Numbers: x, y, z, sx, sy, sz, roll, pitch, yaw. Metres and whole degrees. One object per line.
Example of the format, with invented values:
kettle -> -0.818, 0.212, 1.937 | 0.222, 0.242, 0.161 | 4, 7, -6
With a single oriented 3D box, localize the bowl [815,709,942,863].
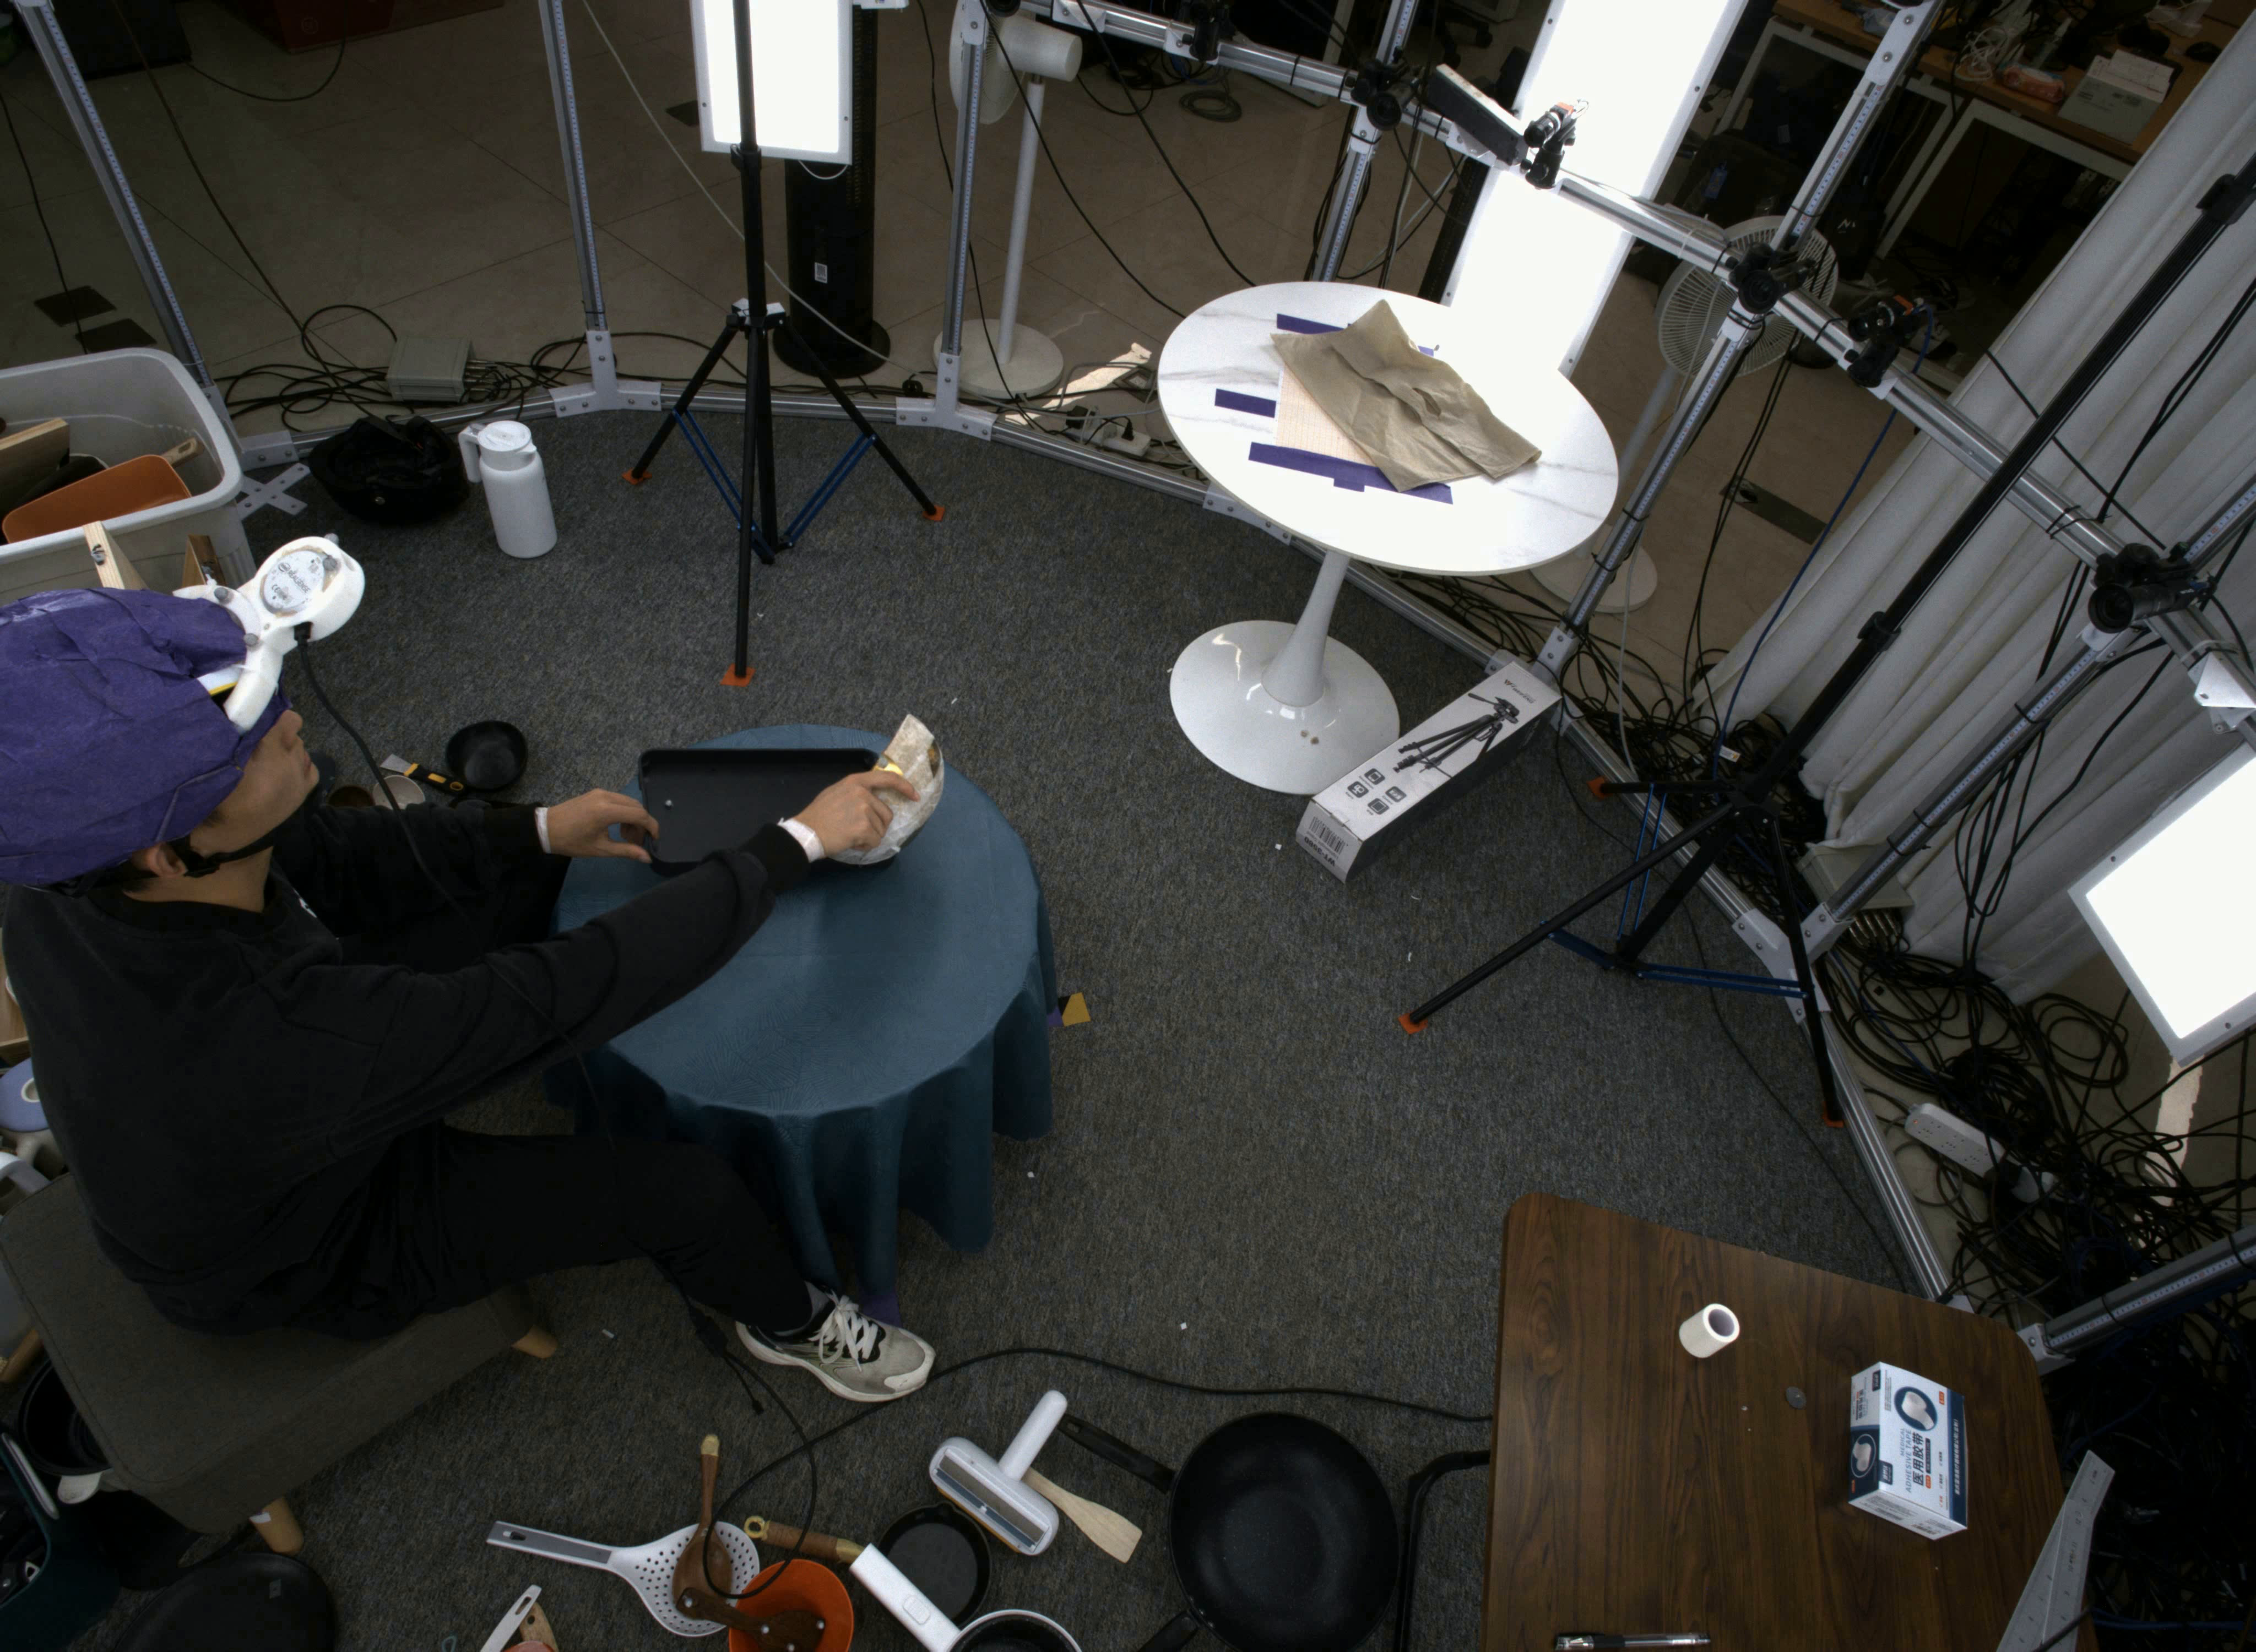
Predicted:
bowl -> -0.292, -0.031, 1.603 | 0.096, 0.214, 0.212 | 33, 50, -12

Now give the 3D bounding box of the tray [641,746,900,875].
tray -> -0.464, -0.021, 1.676 | 0.322, 0.037, 0.180 | 1, 52, -30
